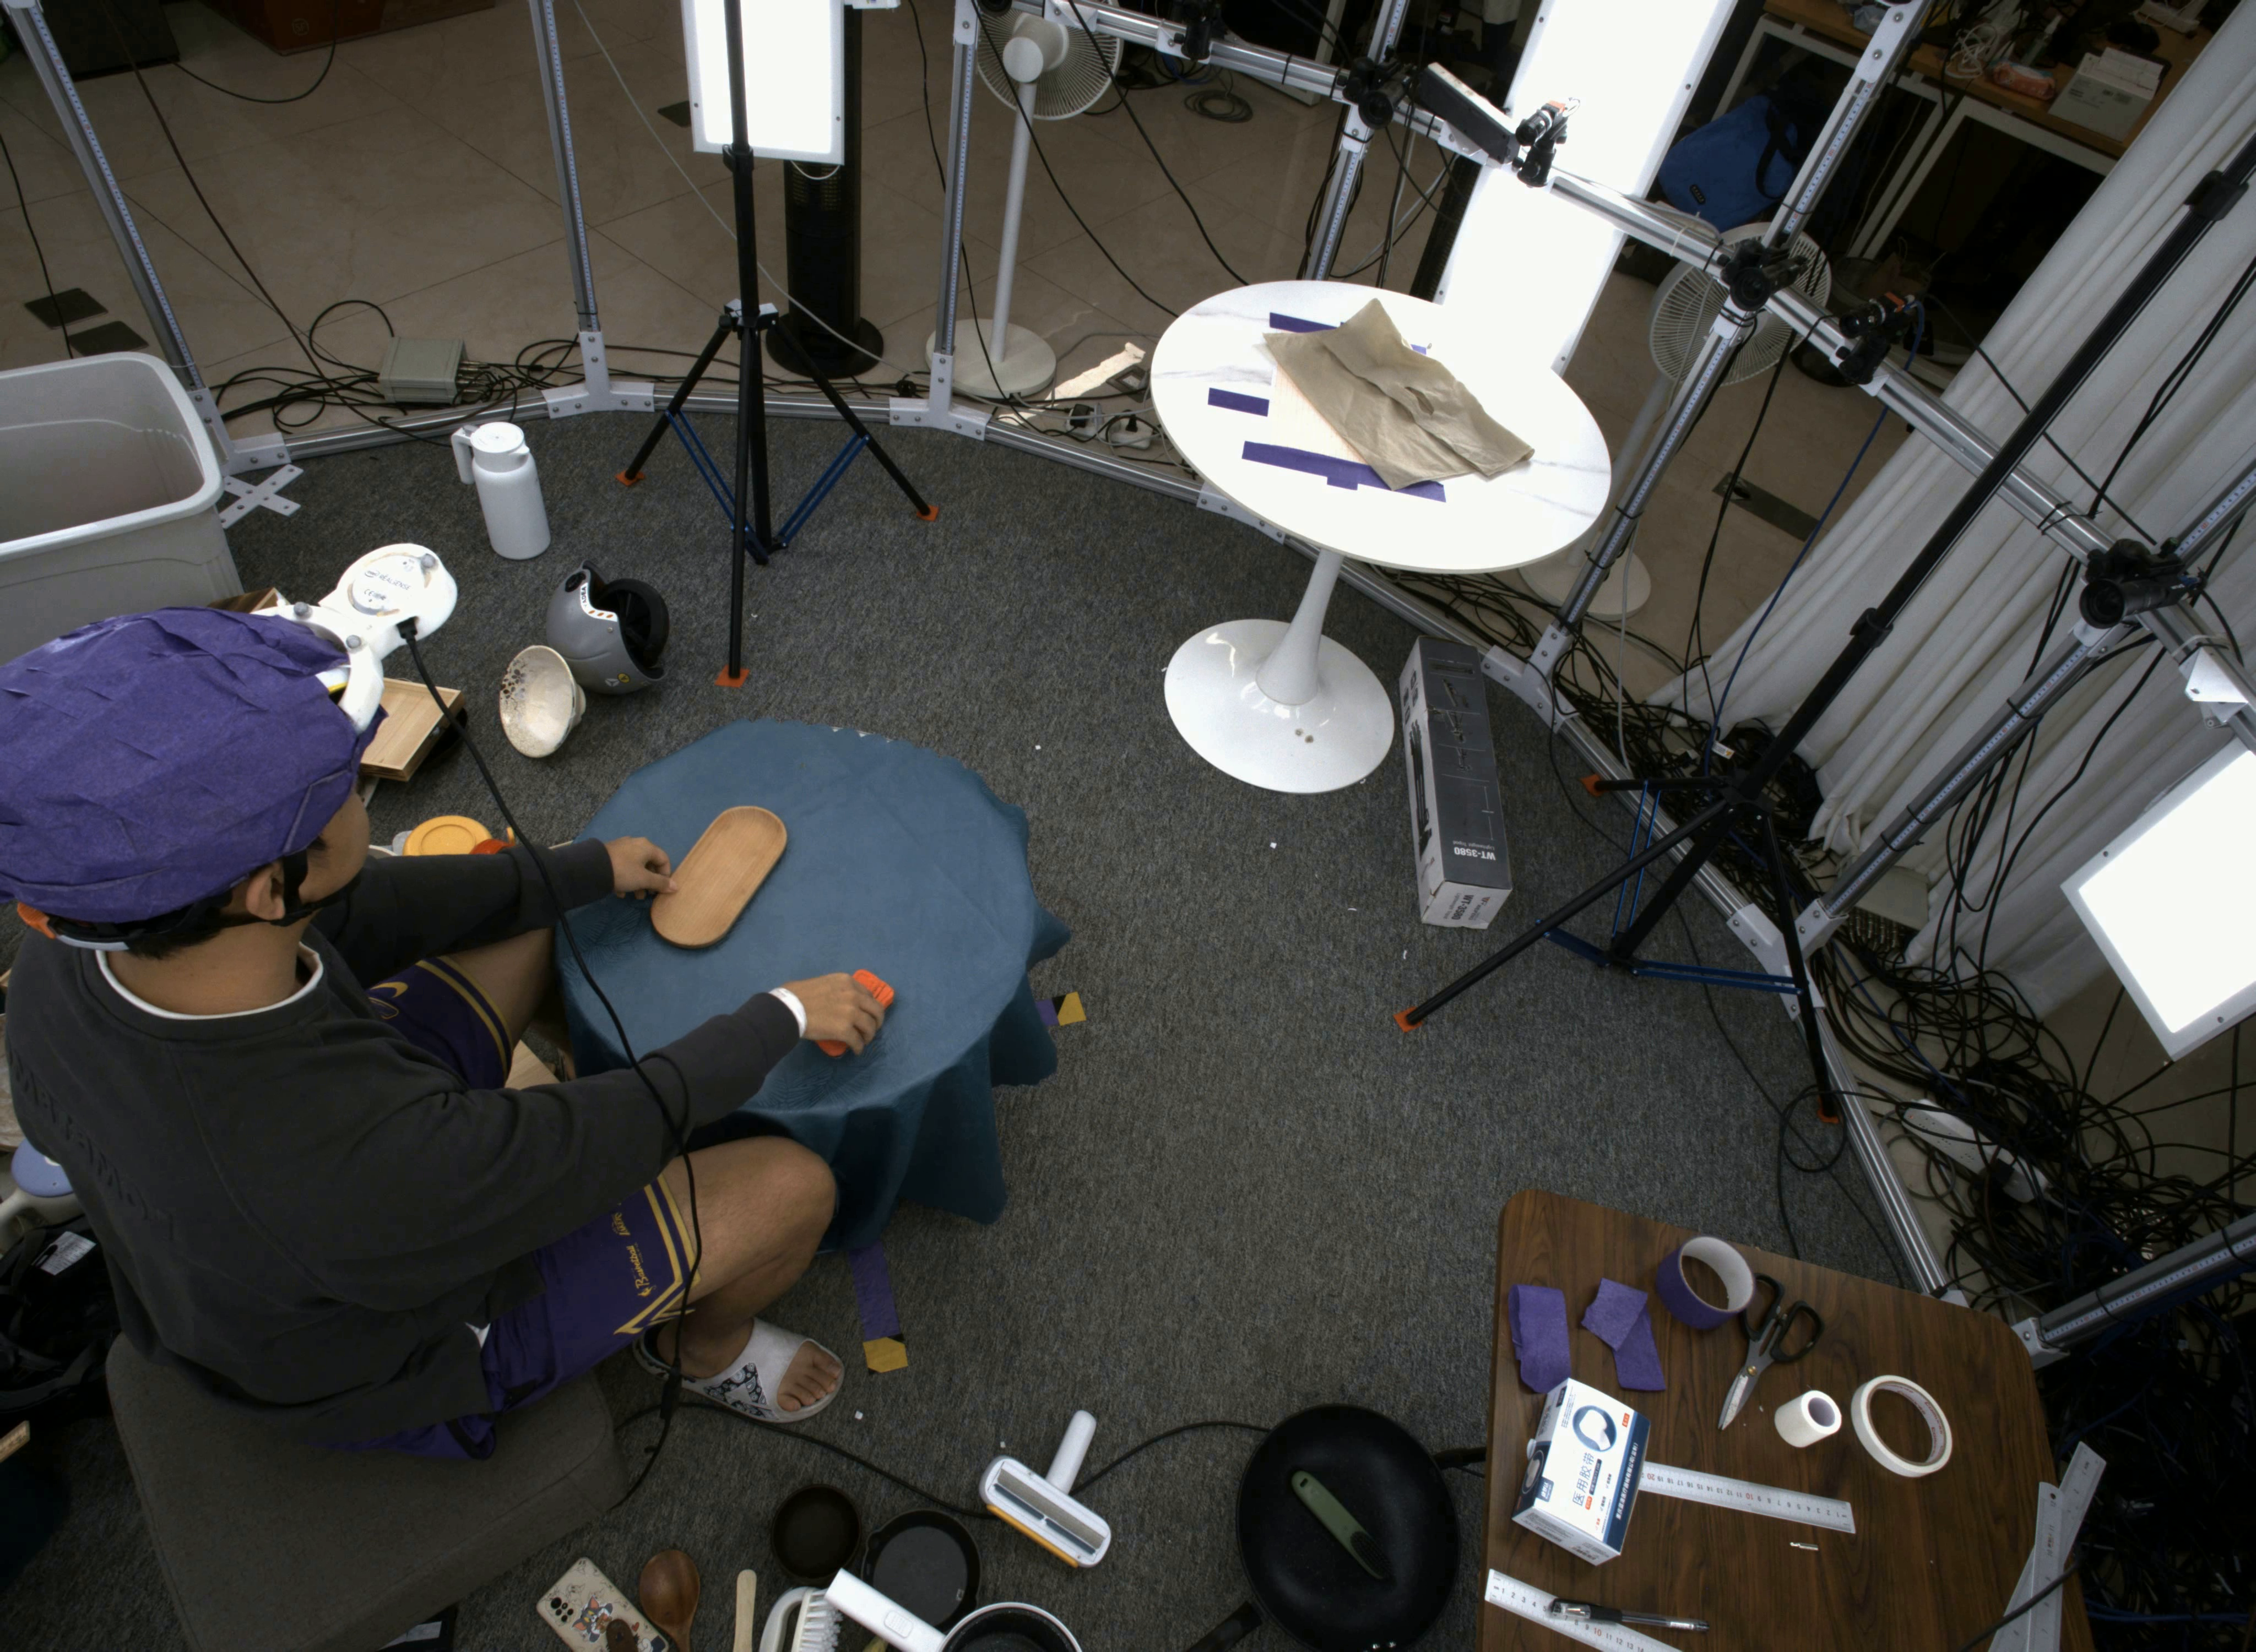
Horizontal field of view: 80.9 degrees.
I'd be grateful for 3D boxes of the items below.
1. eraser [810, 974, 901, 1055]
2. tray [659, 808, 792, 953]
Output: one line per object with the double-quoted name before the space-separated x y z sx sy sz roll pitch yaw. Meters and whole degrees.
"eraser" -0.329 0.225 1.570 0.057 0.024 0.108 17 47 33
"tray" -0.511 0.065 1.646 0.101 0.021 0.229 23 53 1
